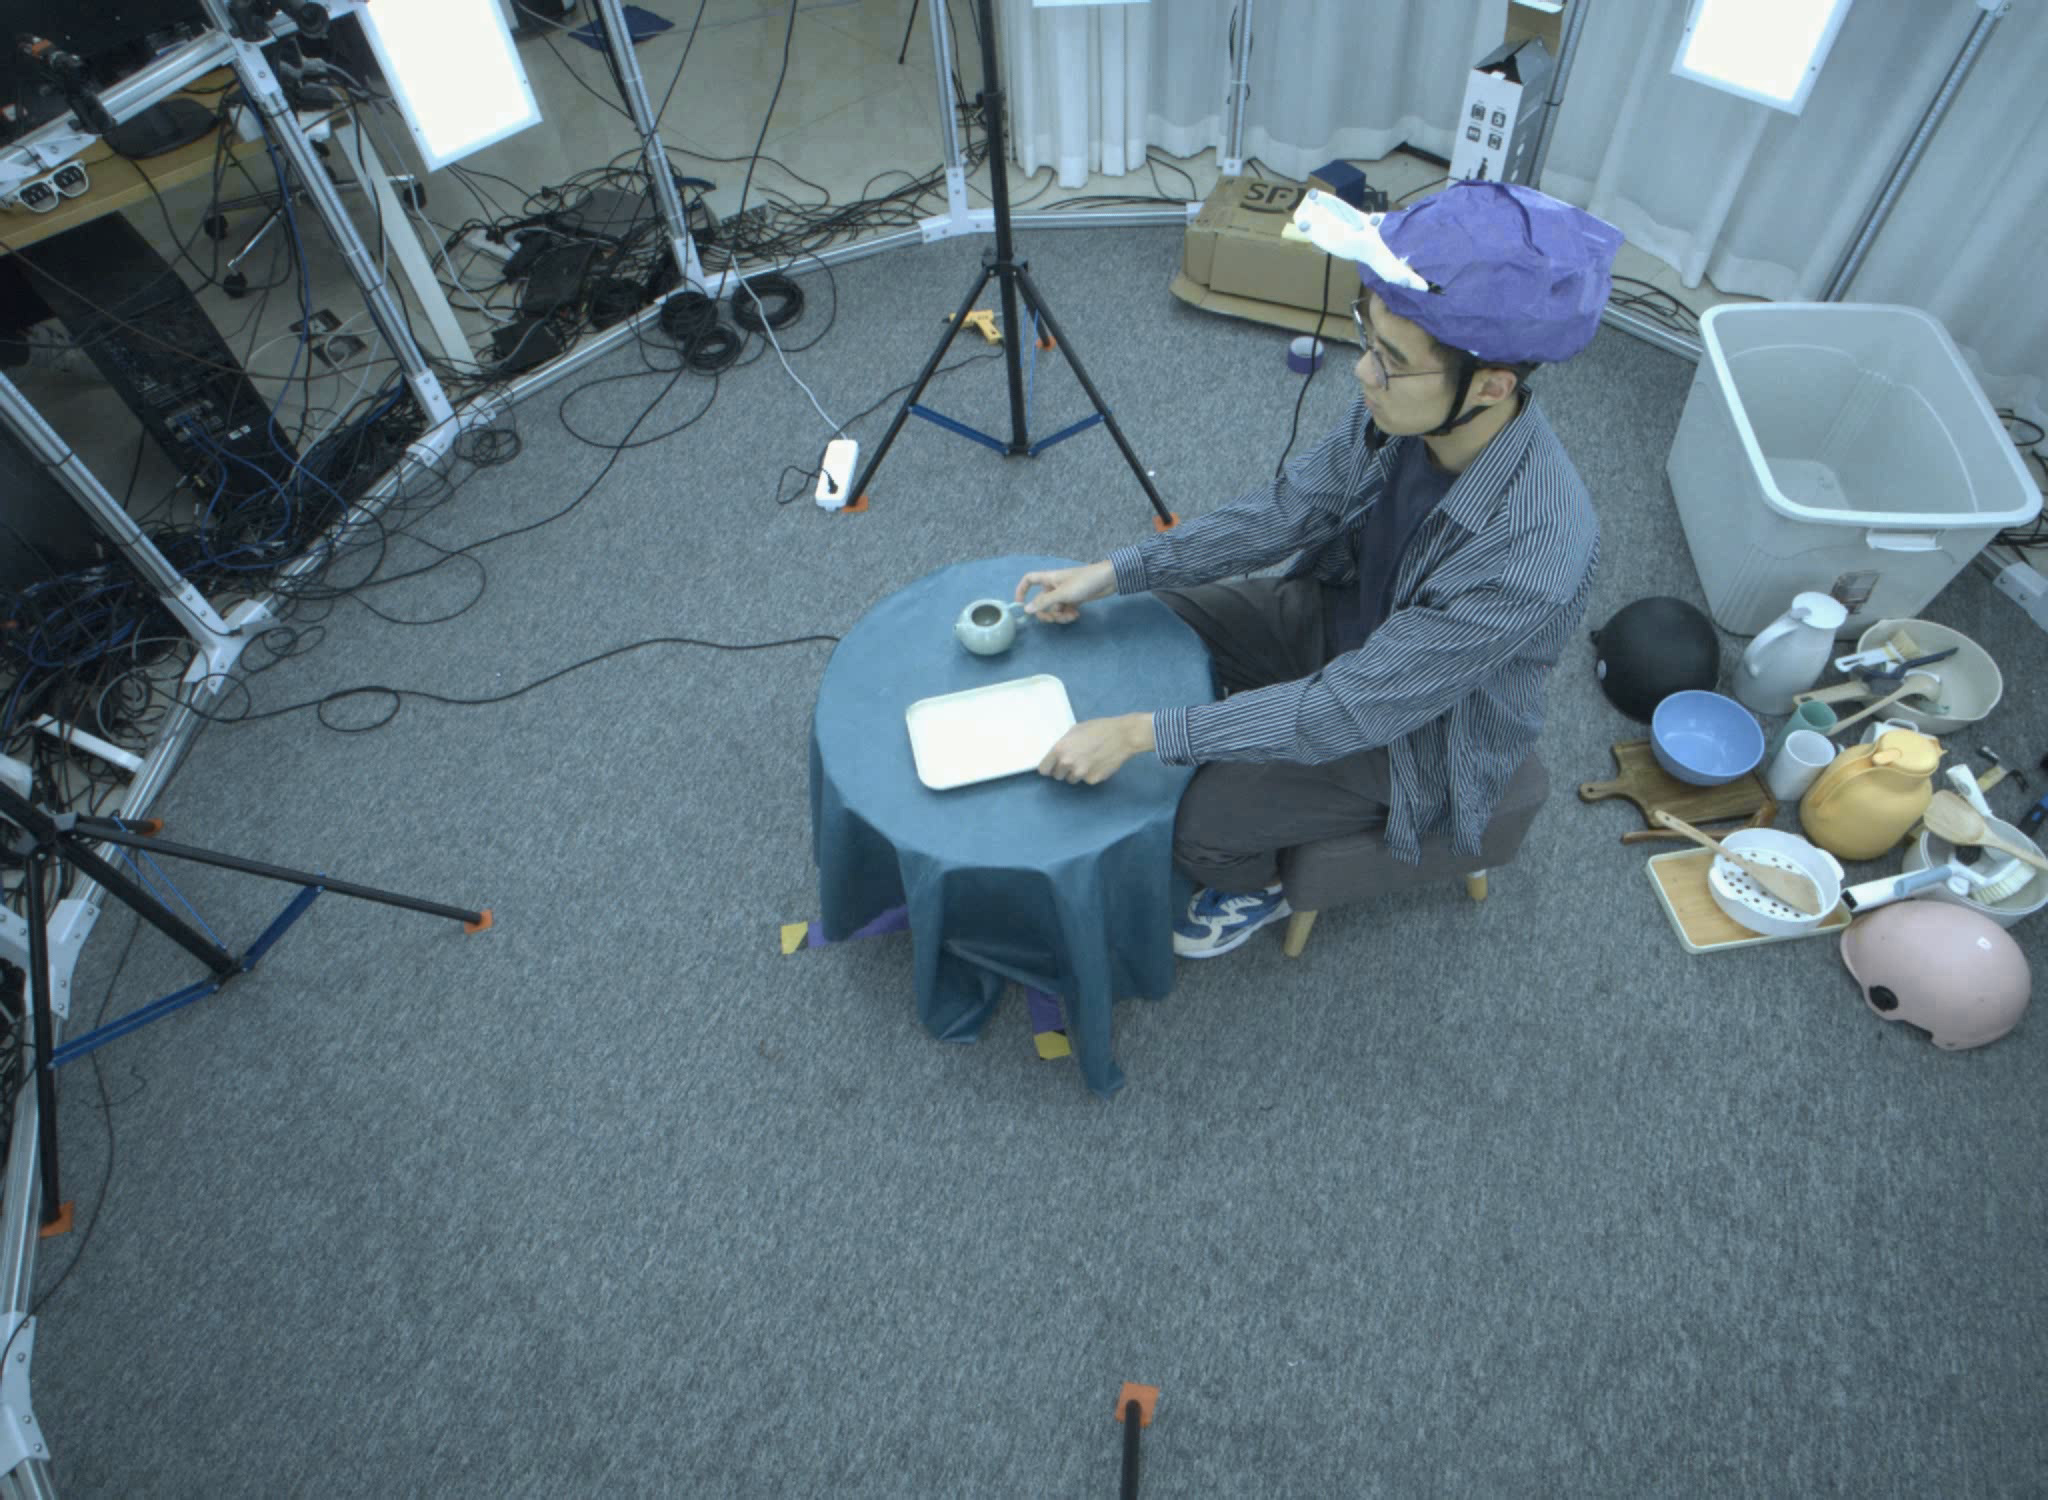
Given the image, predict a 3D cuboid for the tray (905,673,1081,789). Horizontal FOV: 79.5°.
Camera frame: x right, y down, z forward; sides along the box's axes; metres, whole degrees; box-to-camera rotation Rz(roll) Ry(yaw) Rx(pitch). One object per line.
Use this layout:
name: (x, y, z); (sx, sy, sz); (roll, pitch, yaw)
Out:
tray: (-0.046, -0.027, 1.798); (0.241, 0.017, 0.168); (-12, 53, -7)

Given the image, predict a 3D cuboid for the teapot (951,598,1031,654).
teapot: (-0.050, -0.194, 1.895); (0.129, 0.061, 0.090); (-20, 54, -12)
